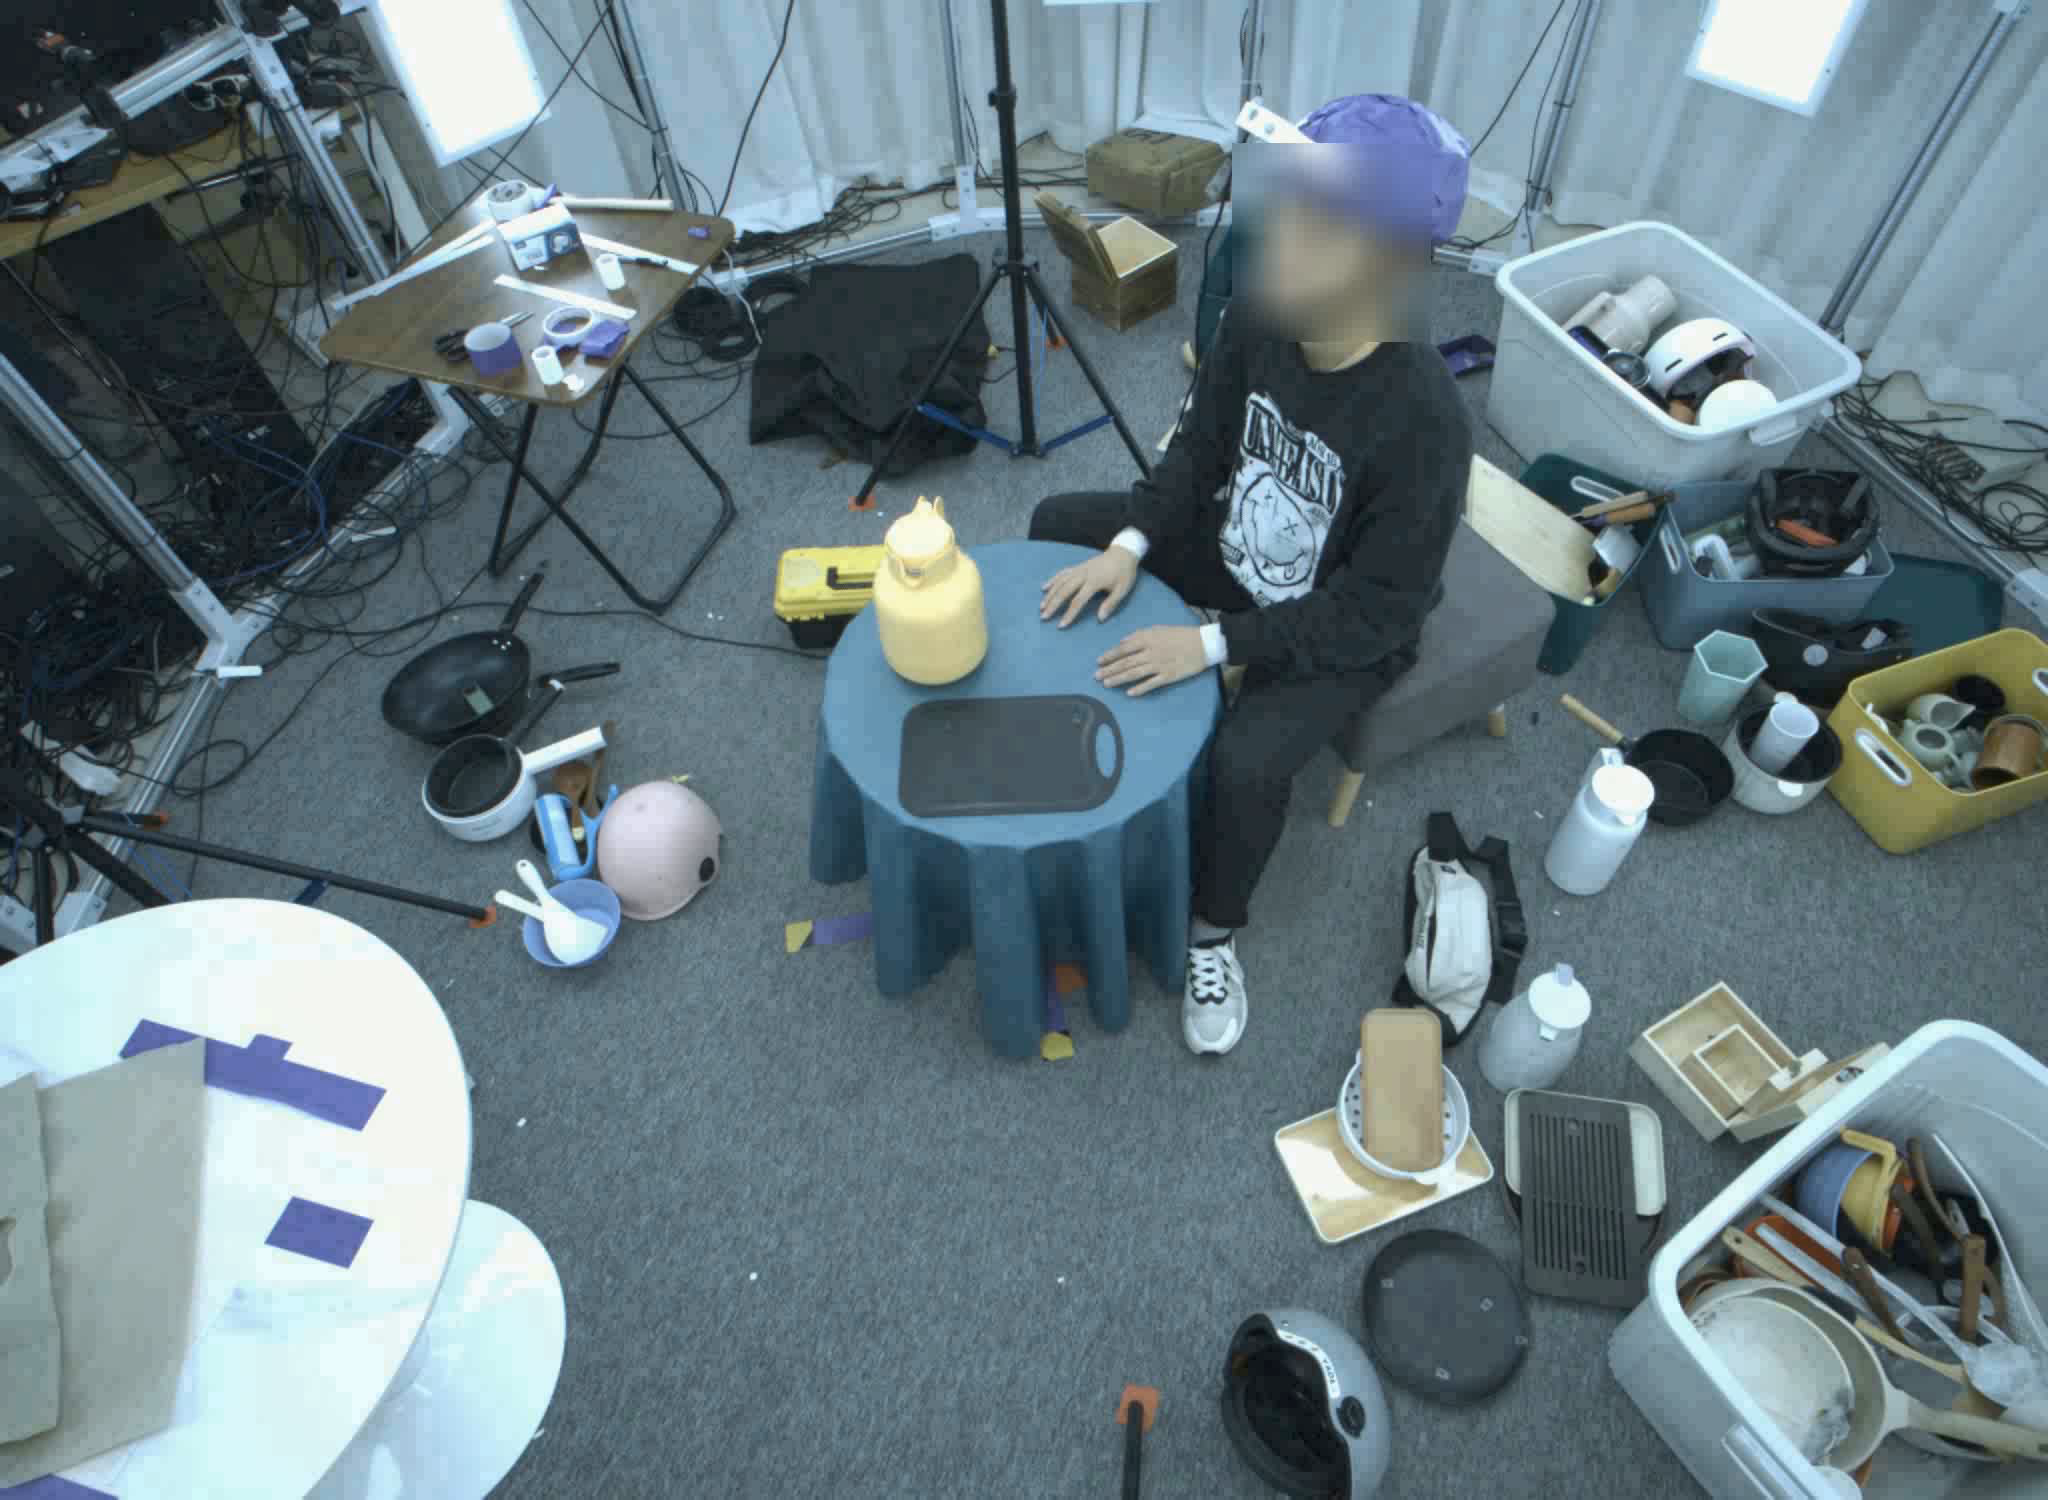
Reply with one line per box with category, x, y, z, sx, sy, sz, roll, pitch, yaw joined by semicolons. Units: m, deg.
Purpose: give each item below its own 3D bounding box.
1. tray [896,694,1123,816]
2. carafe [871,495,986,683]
tray;-0.020;0.003;1.777;0.325;0.010;0.209;-2;55;0
carafe;-0.139;-0.243;1.799;0.163;0.263;0.201;6;56;5
